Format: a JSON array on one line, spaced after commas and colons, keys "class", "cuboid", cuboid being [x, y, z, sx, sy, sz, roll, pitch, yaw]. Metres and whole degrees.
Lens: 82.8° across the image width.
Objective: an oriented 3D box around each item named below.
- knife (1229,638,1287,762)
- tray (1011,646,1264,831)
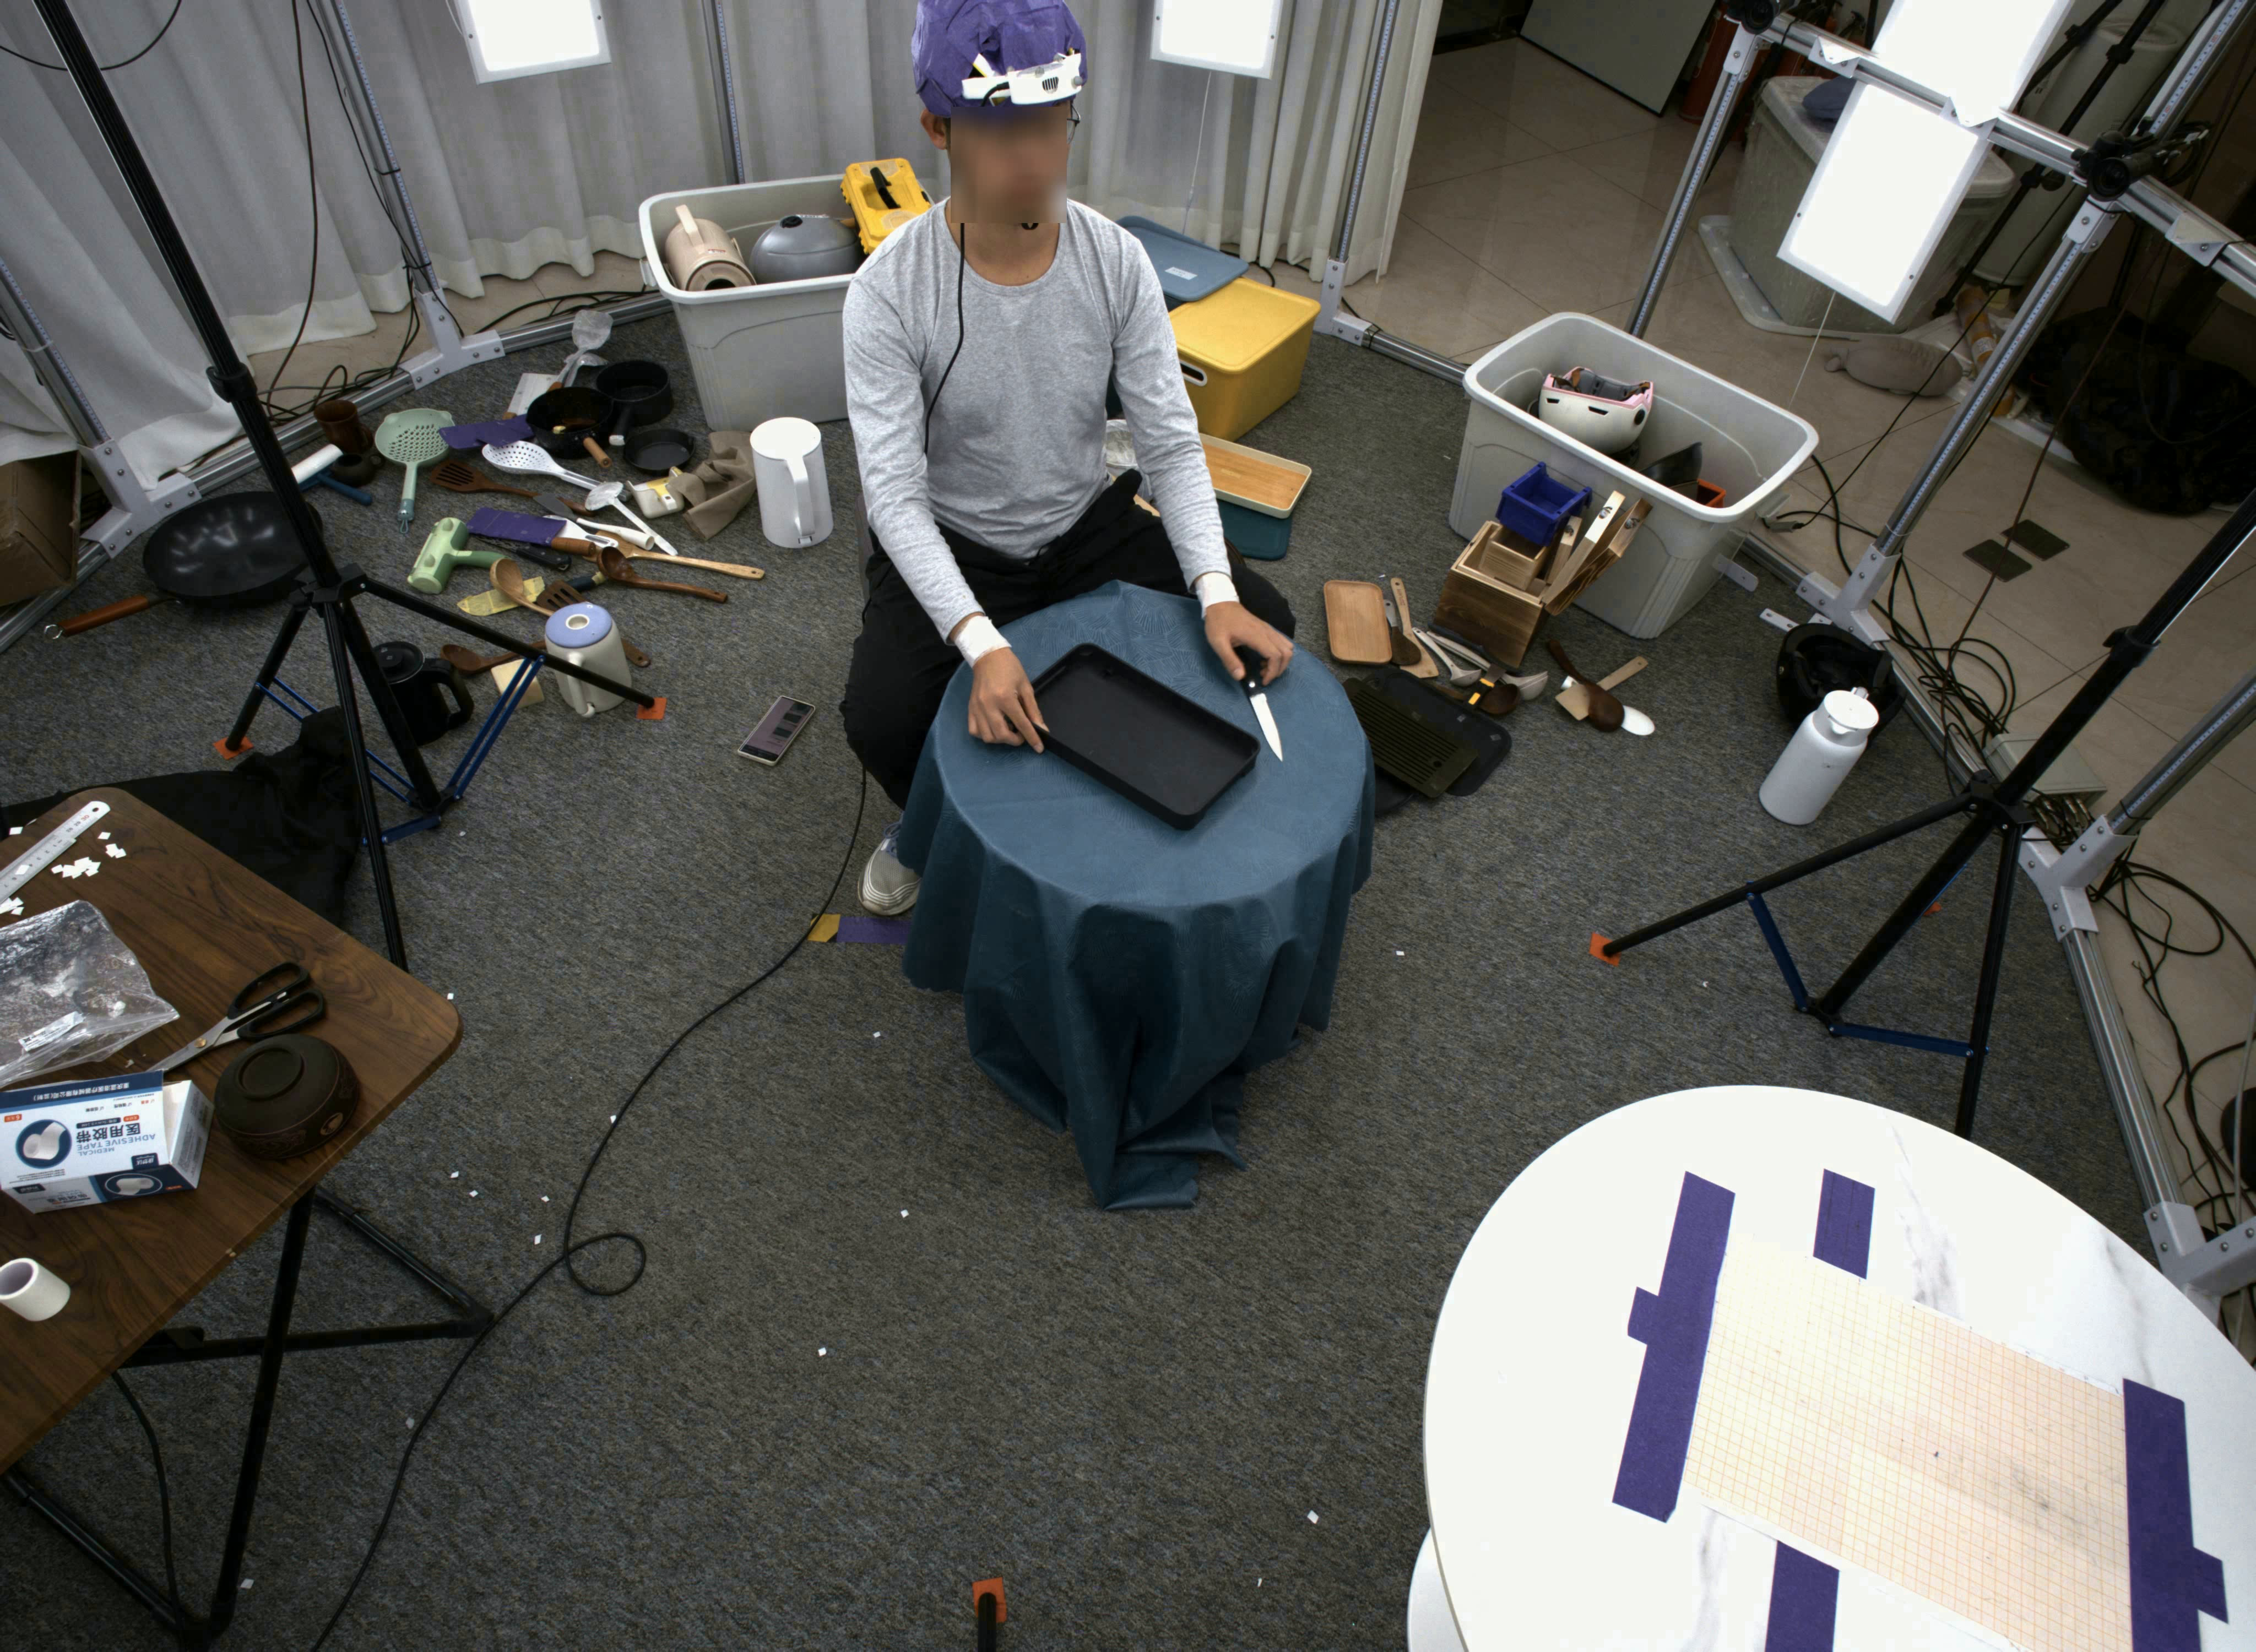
[{"class": "knife", "cuboid": [0.185, -0.181, 1.830, 0.024, 0.016, 0.244, -12, 53, -8]}, {"class": "tray", "cuboid": [0.011, -0.125, 1.753, 0.321, 0.036, 0.186, 31, 53, 22]}]
